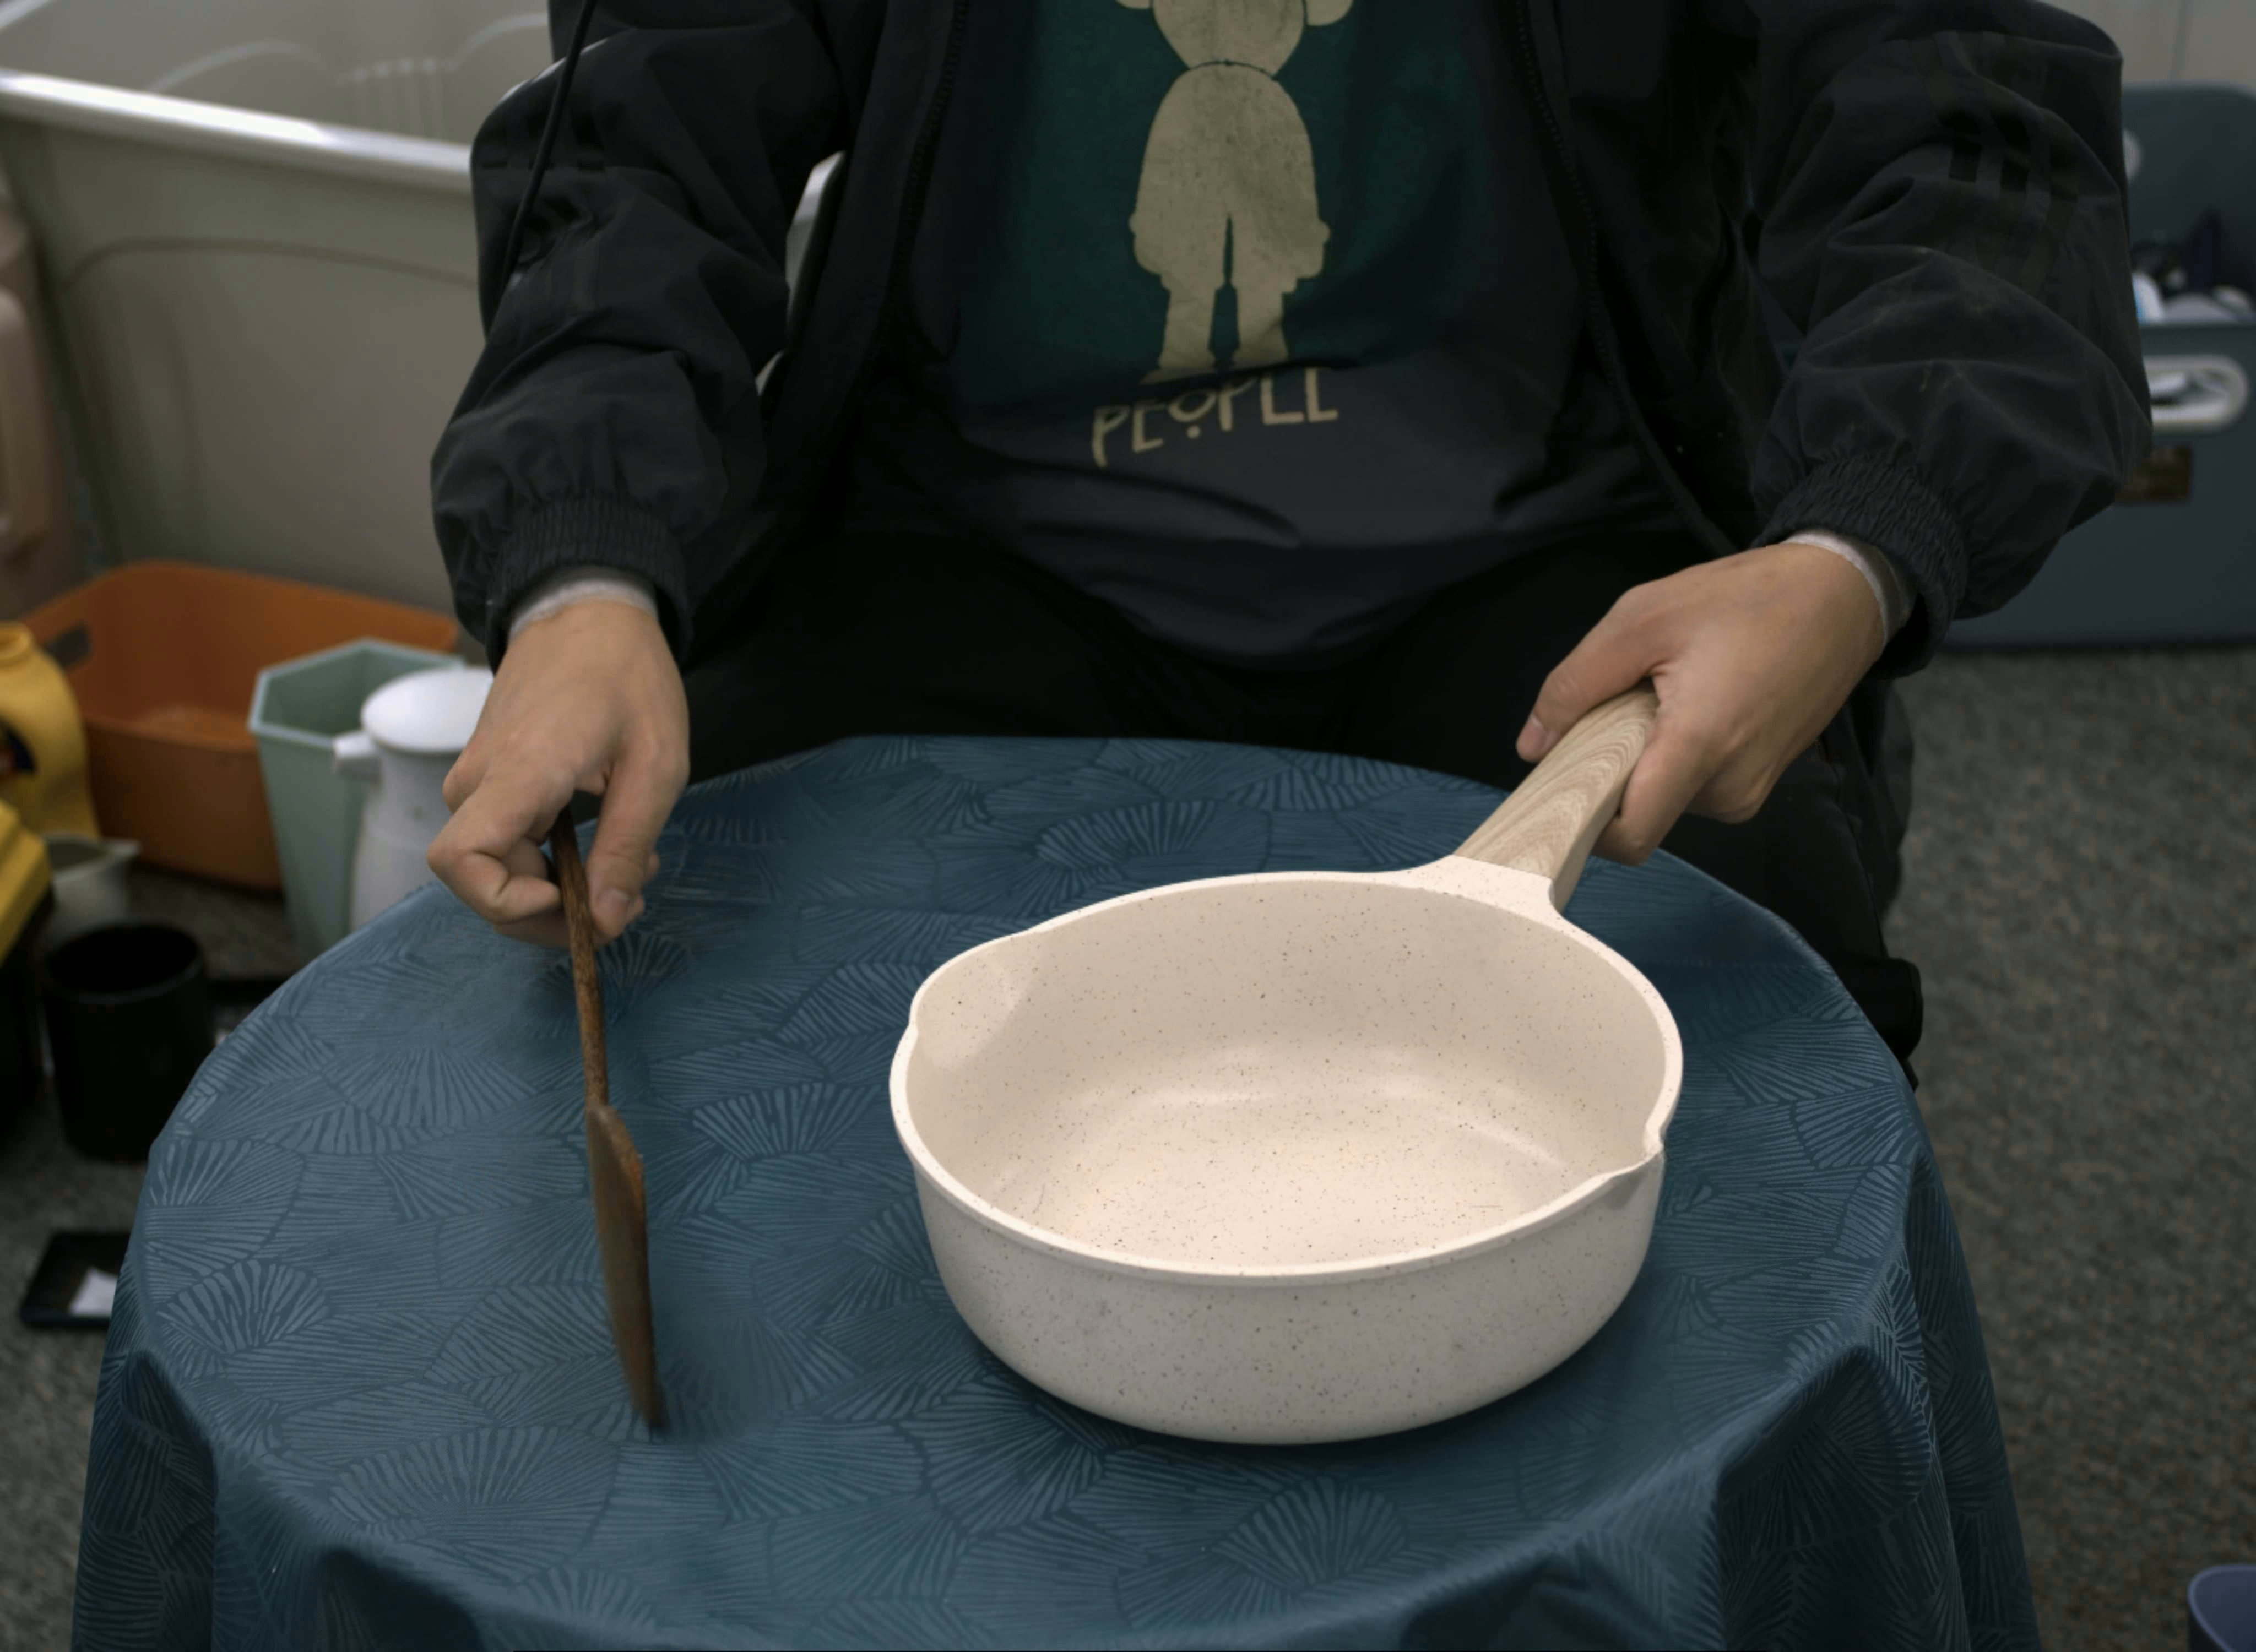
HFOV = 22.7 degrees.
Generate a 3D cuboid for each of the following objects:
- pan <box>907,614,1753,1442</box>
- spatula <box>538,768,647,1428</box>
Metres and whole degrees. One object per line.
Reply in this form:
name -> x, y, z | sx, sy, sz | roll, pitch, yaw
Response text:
pan -> 0.105, 0.063, 1.852 | 0.262, 0.101, 0.442 | 12, 31, 30
spatula -> -0.180, 0.069, 1.880 | 0.016, 0.095, 0.390 | -3, 26, -8
